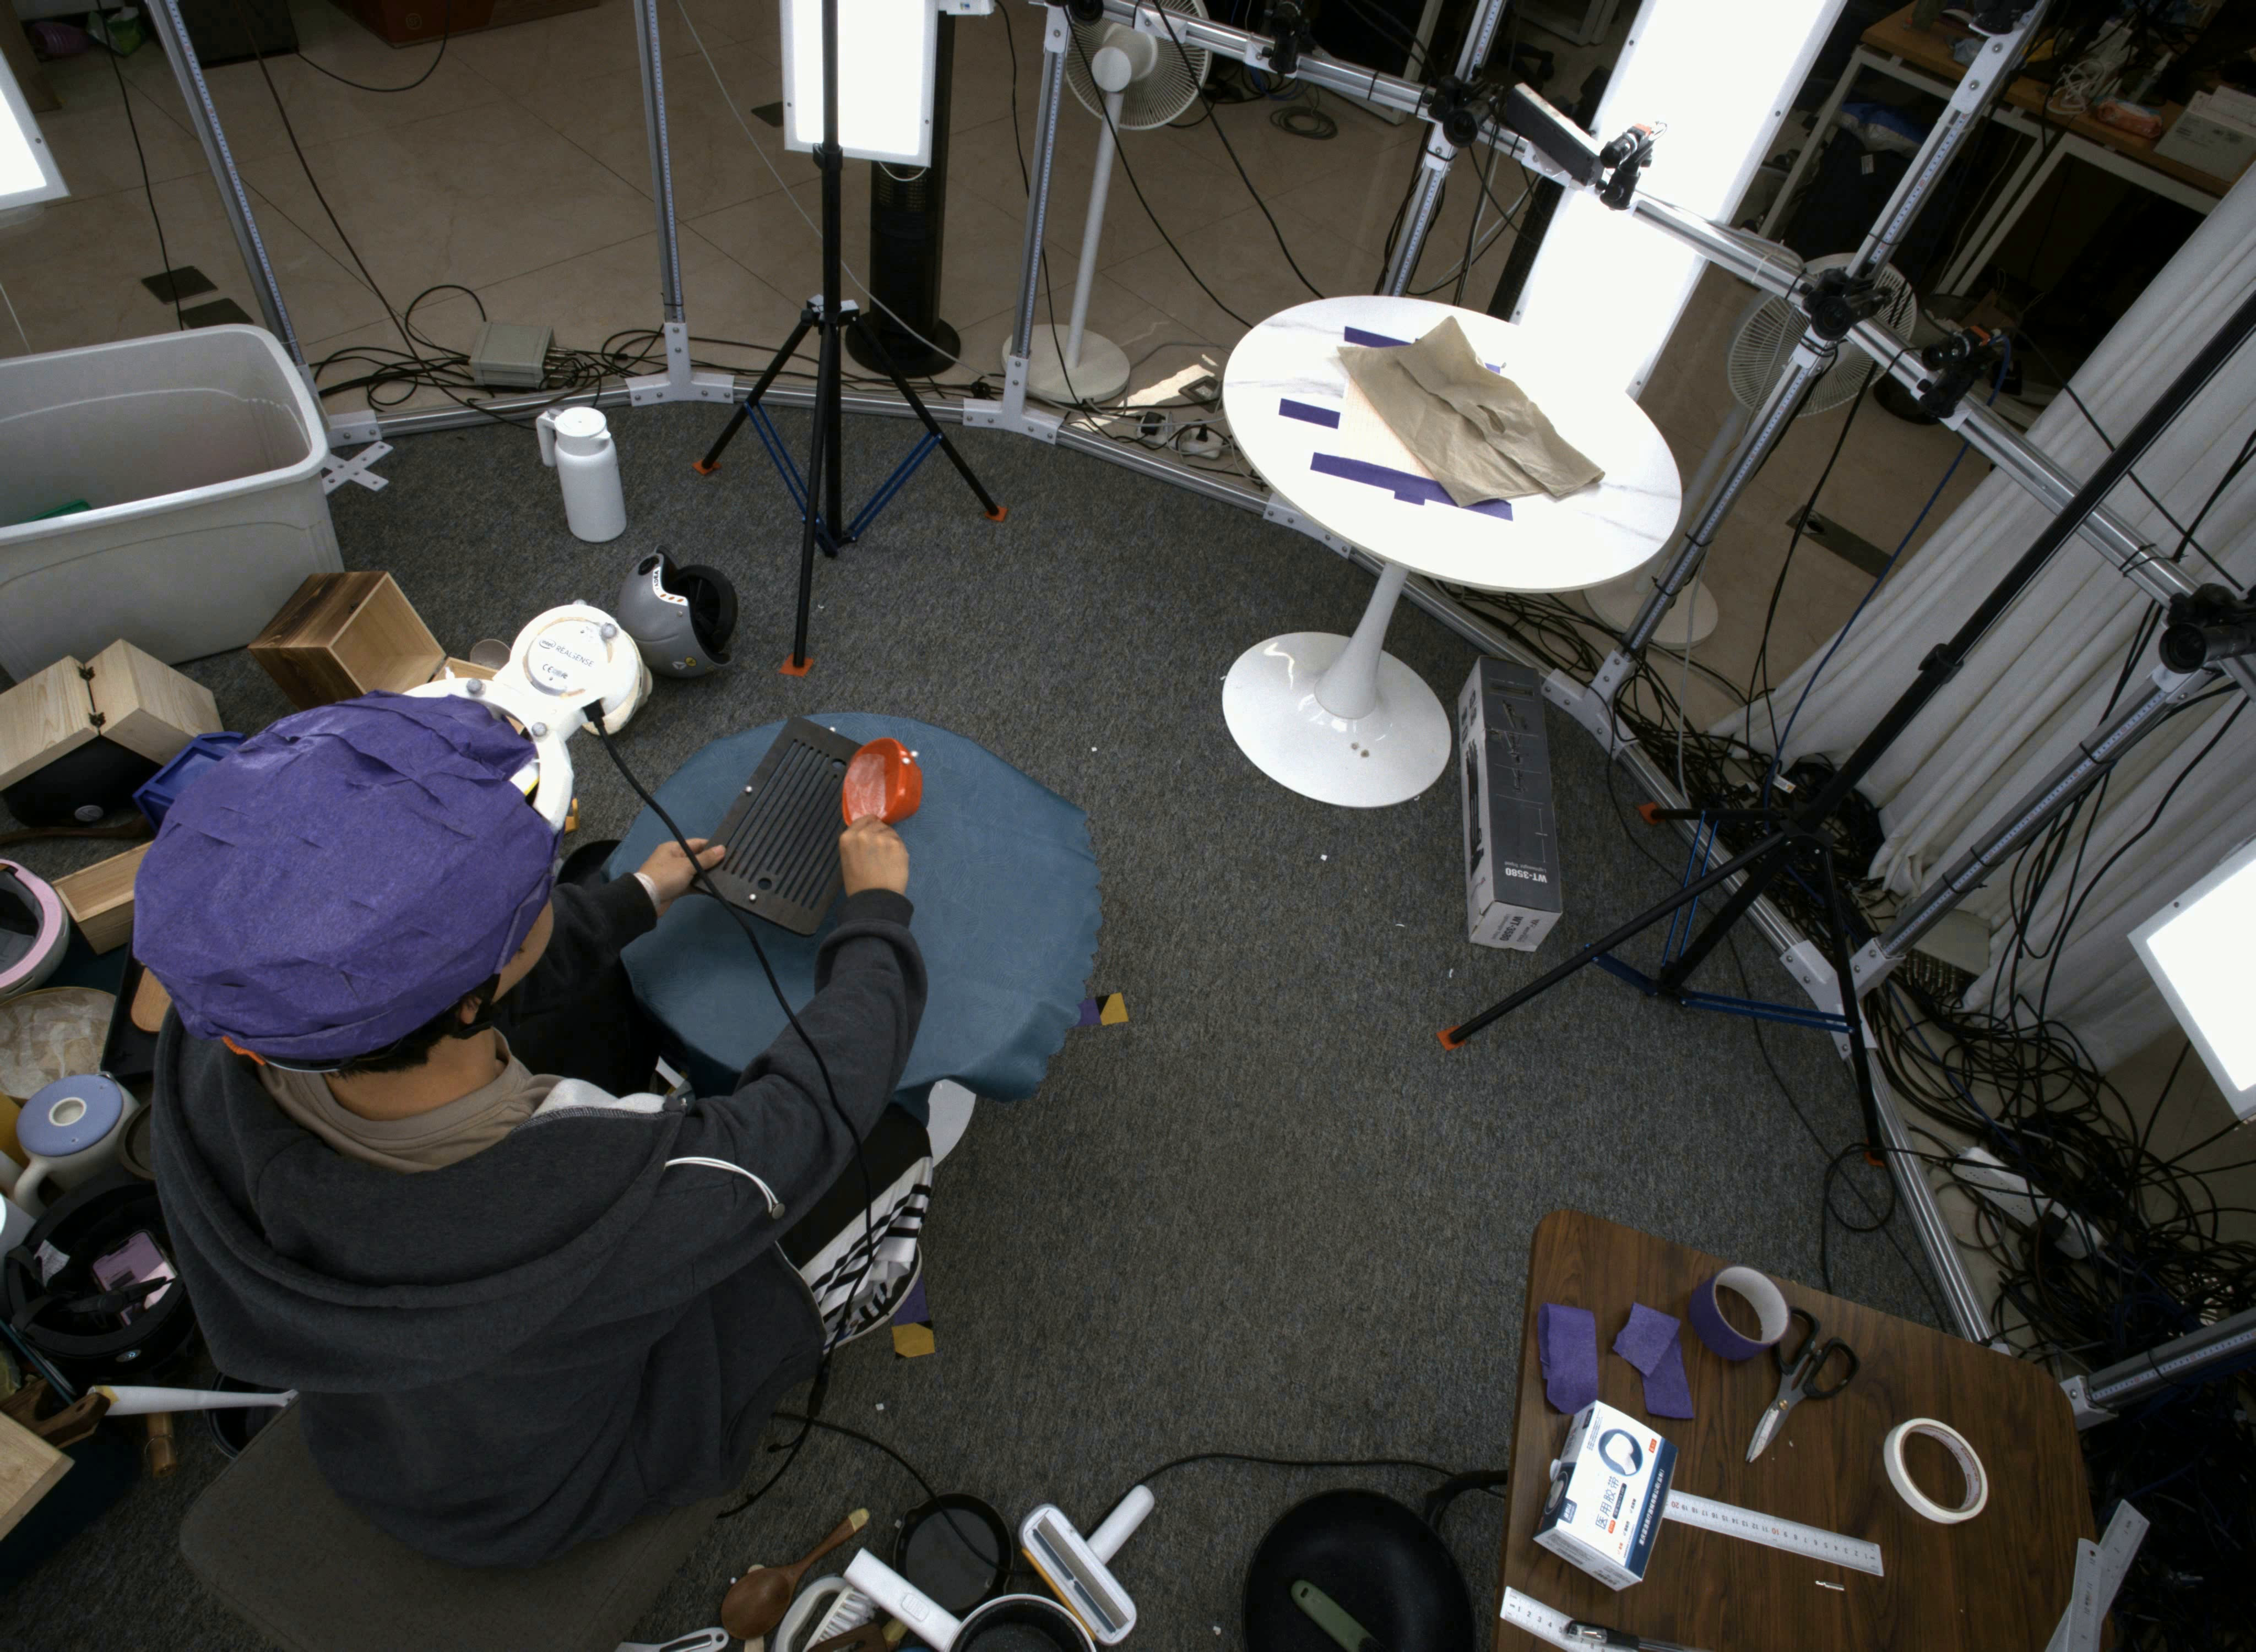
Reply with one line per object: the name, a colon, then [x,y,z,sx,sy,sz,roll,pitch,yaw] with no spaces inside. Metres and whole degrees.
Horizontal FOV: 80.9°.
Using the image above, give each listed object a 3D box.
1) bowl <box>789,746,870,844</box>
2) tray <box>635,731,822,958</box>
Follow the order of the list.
bowl: [-0.341,-0.031,1.507,0.053,0.118,0.116,20,37,-48]
tray: [-0.477,0.017,1.619,0.170,0.019,0.302,23,50,-9]
